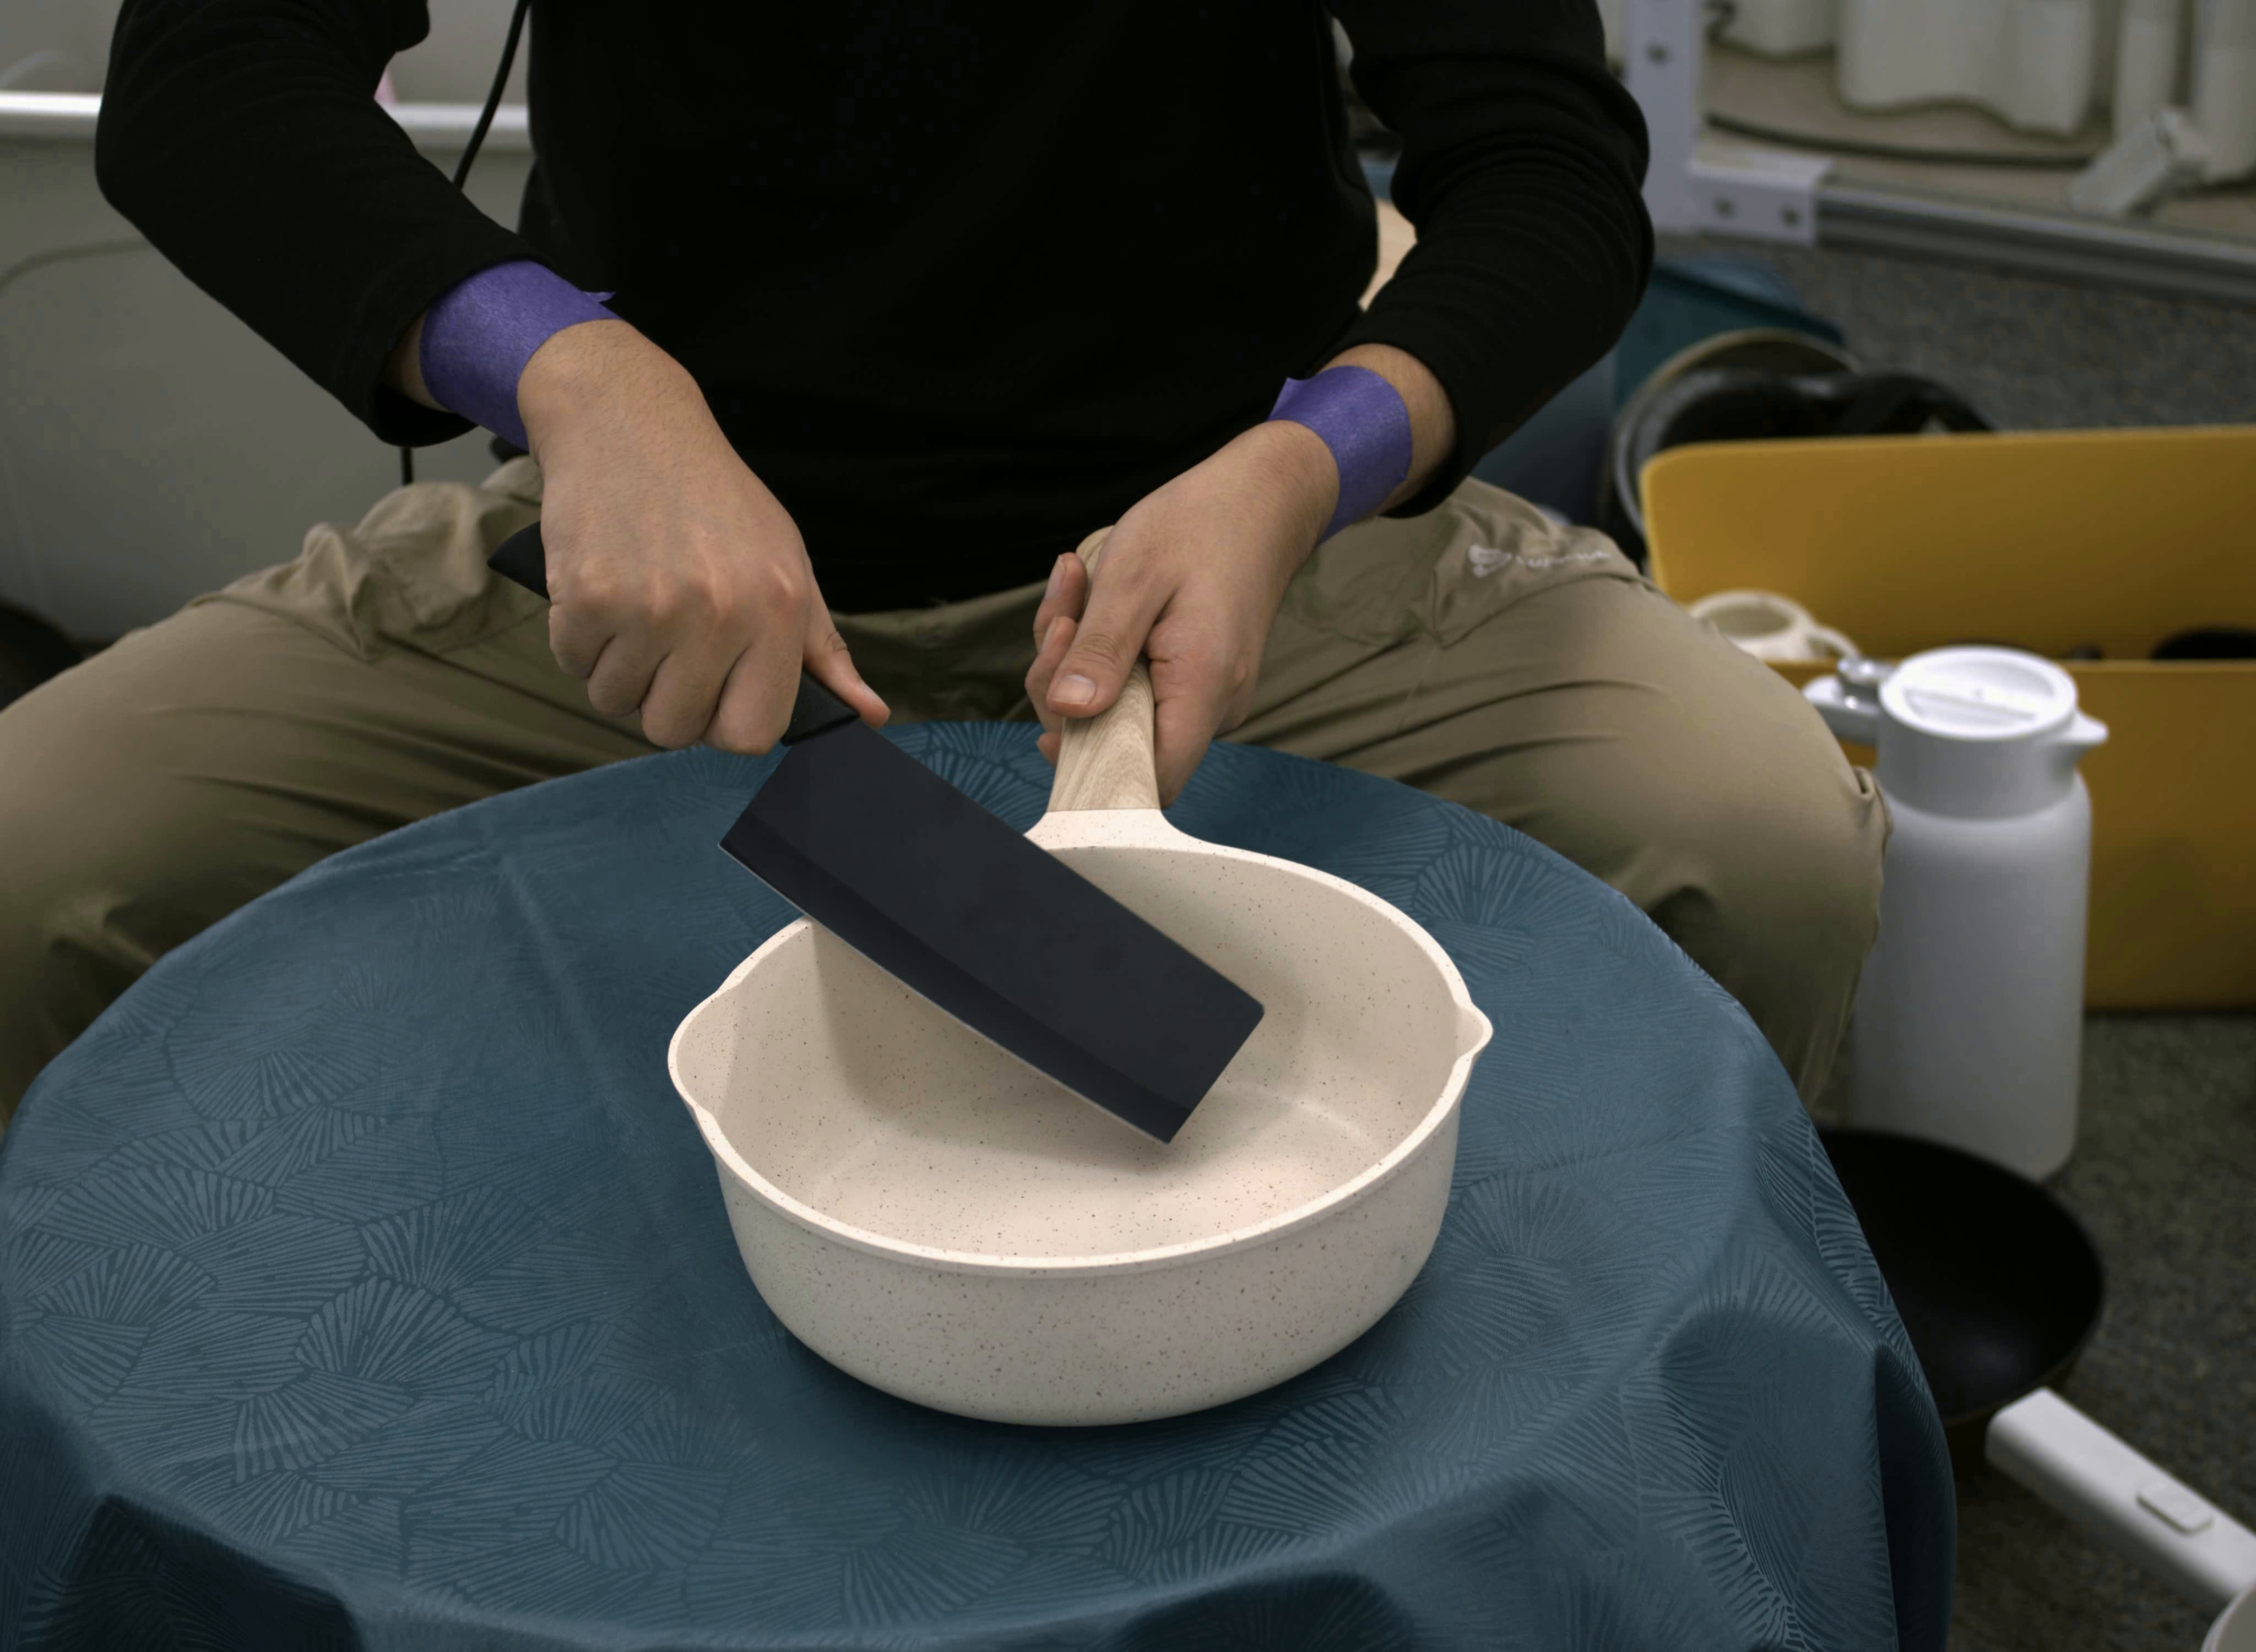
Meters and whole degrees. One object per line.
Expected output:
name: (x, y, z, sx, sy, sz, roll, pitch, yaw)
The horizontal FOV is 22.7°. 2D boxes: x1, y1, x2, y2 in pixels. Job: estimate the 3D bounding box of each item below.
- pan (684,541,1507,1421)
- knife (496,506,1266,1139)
pan: (-0.005, 0.048, 1.880, 0.262, 0.101, 0.442, -3, 29, 3)
knife: (-0.089, -0.006, 1.868, 0.302, 0.020, 0.082, 40, 68, 8)
